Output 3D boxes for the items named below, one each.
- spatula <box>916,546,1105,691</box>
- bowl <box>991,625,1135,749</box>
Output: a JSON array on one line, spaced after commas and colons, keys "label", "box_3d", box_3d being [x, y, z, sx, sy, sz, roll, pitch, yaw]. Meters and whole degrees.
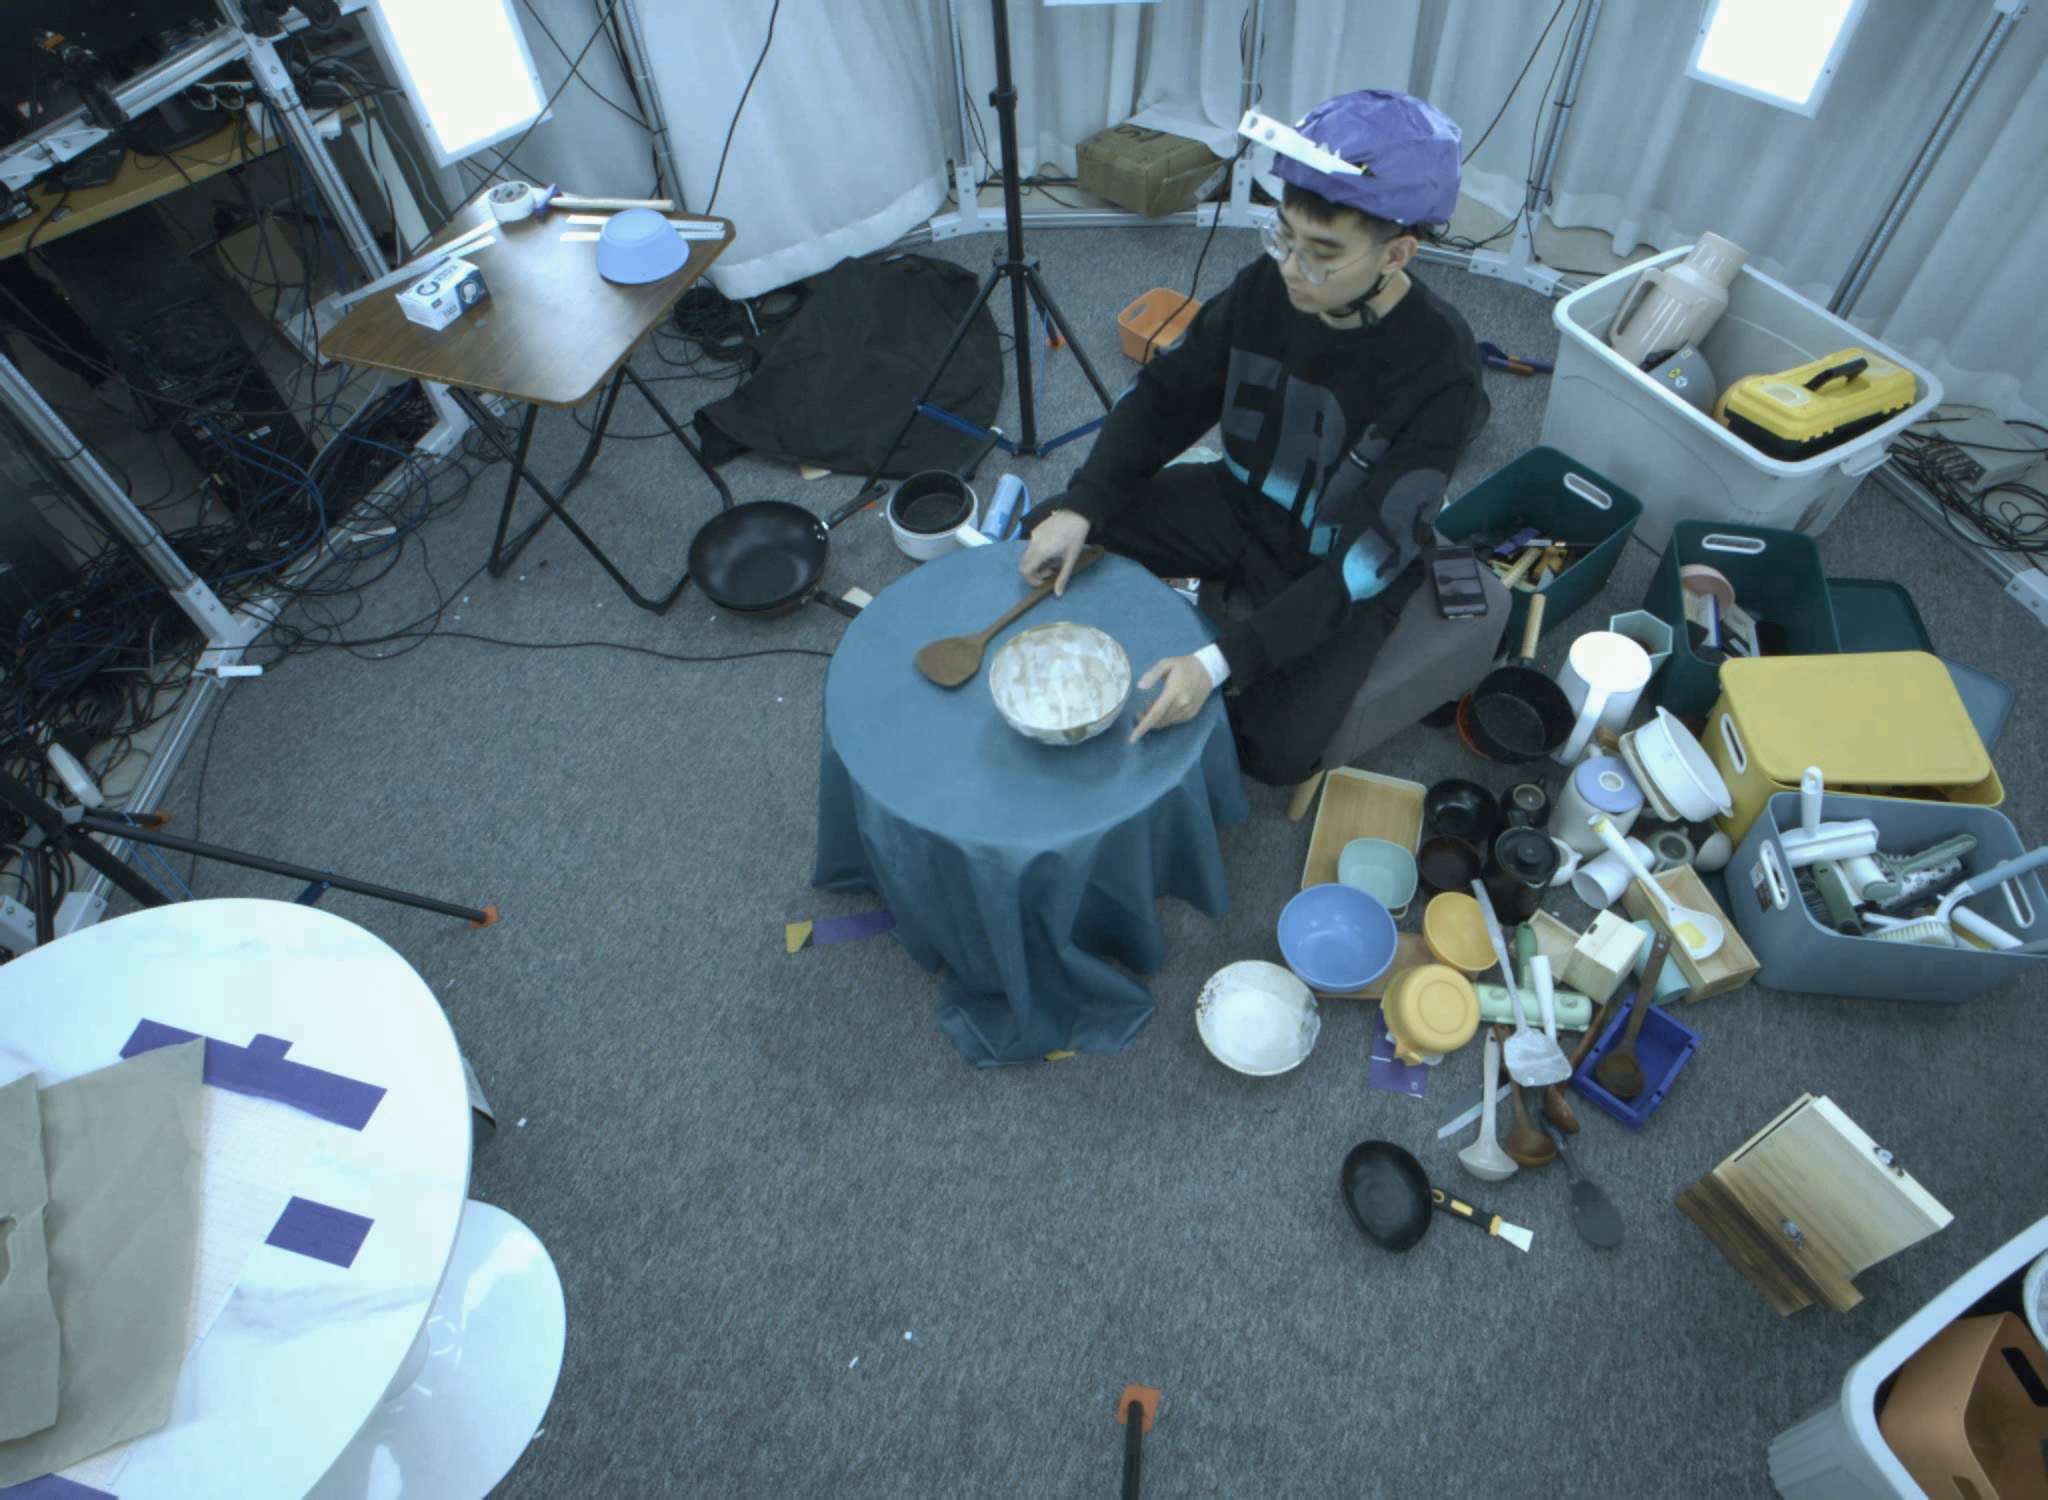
[{"label": "spatula", "box_3d": [-0.008, -0.219, 1.944, 0.094, 0.016, 0.388, 38, 64, 24]}, {"label": "bowl", "box_3d": [0.060, -0.076, 1.792, 0.214, 0.095, 0.212, -1, 53, 2]}]
